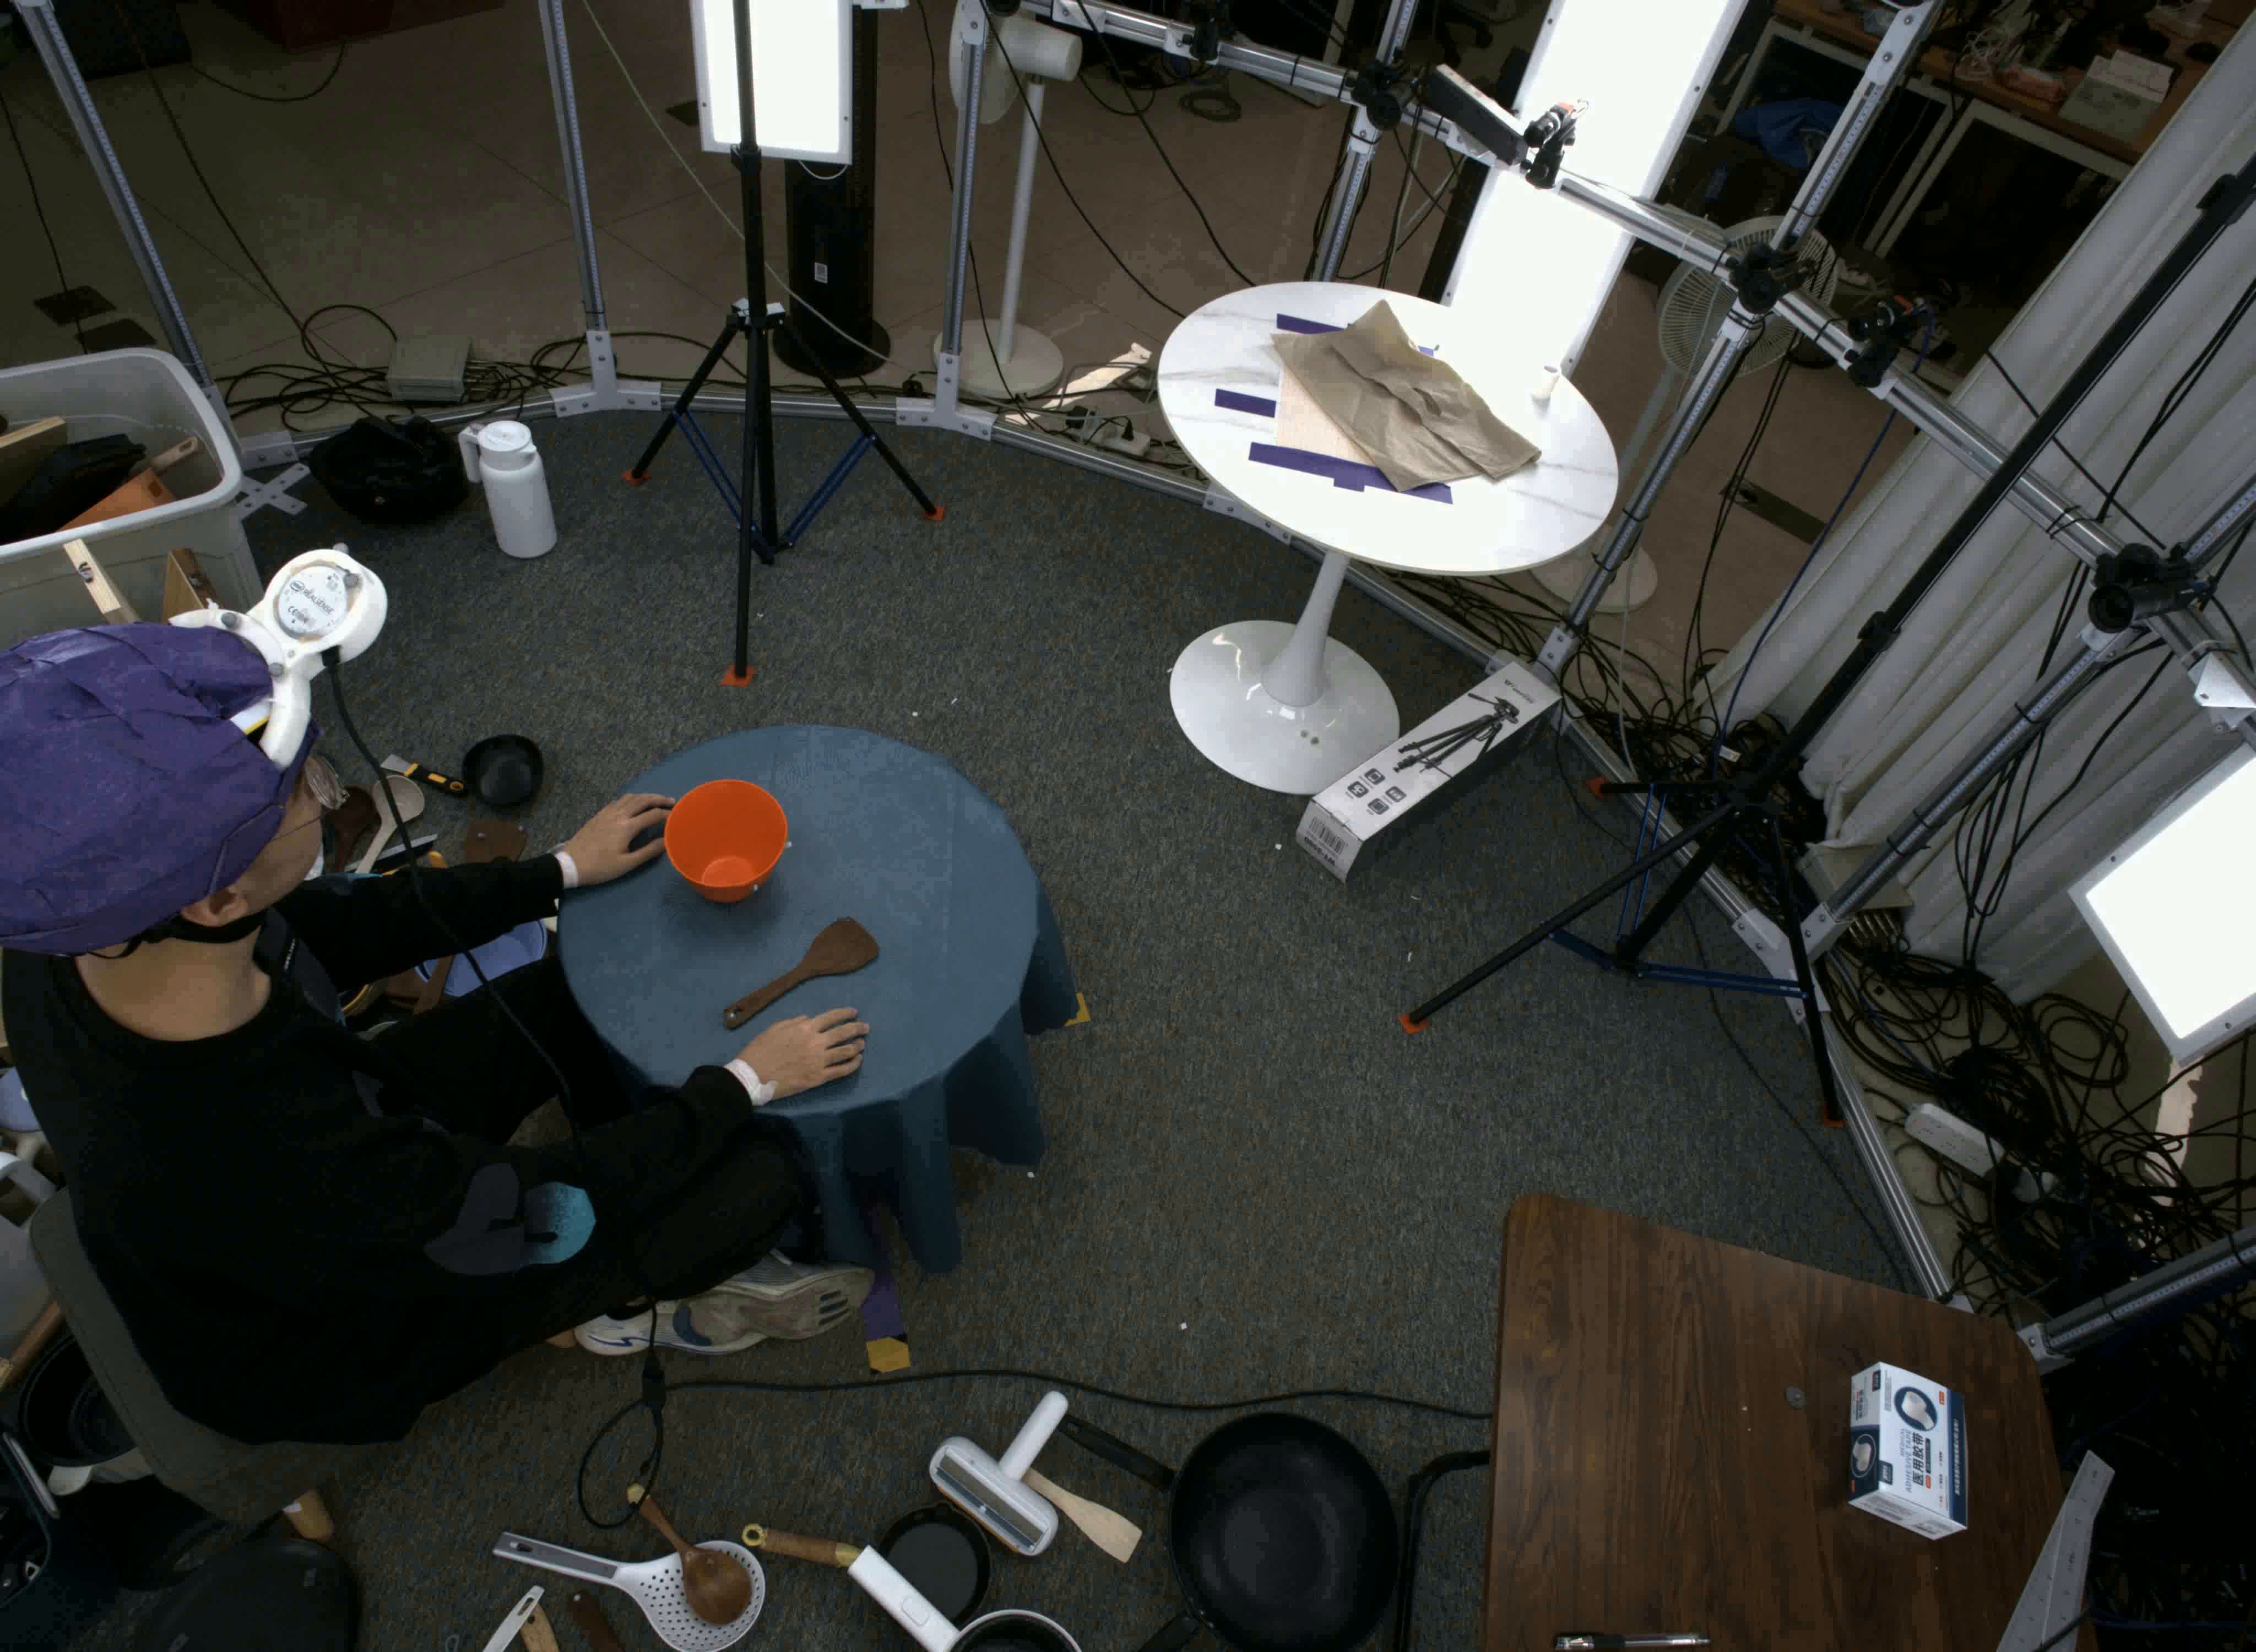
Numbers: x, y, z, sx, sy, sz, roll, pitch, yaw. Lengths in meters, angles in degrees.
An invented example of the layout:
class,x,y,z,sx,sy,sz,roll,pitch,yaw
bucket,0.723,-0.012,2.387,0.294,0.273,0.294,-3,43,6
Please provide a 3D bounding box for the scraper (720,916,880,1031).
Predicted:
class,x,y,z,sx,sy,sz,roll,pitch,yaw
scraper,-0.406,0.184,1.592,0.212,0.011,0.074,-34,67,-32

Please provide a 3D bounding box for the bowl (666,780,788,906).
class,x,y,z,sx,sy,sz,roll,pitch,yaw
bowl,-0.500,0.032,1.622,0.148,0.107,0.145,7,54,-8
